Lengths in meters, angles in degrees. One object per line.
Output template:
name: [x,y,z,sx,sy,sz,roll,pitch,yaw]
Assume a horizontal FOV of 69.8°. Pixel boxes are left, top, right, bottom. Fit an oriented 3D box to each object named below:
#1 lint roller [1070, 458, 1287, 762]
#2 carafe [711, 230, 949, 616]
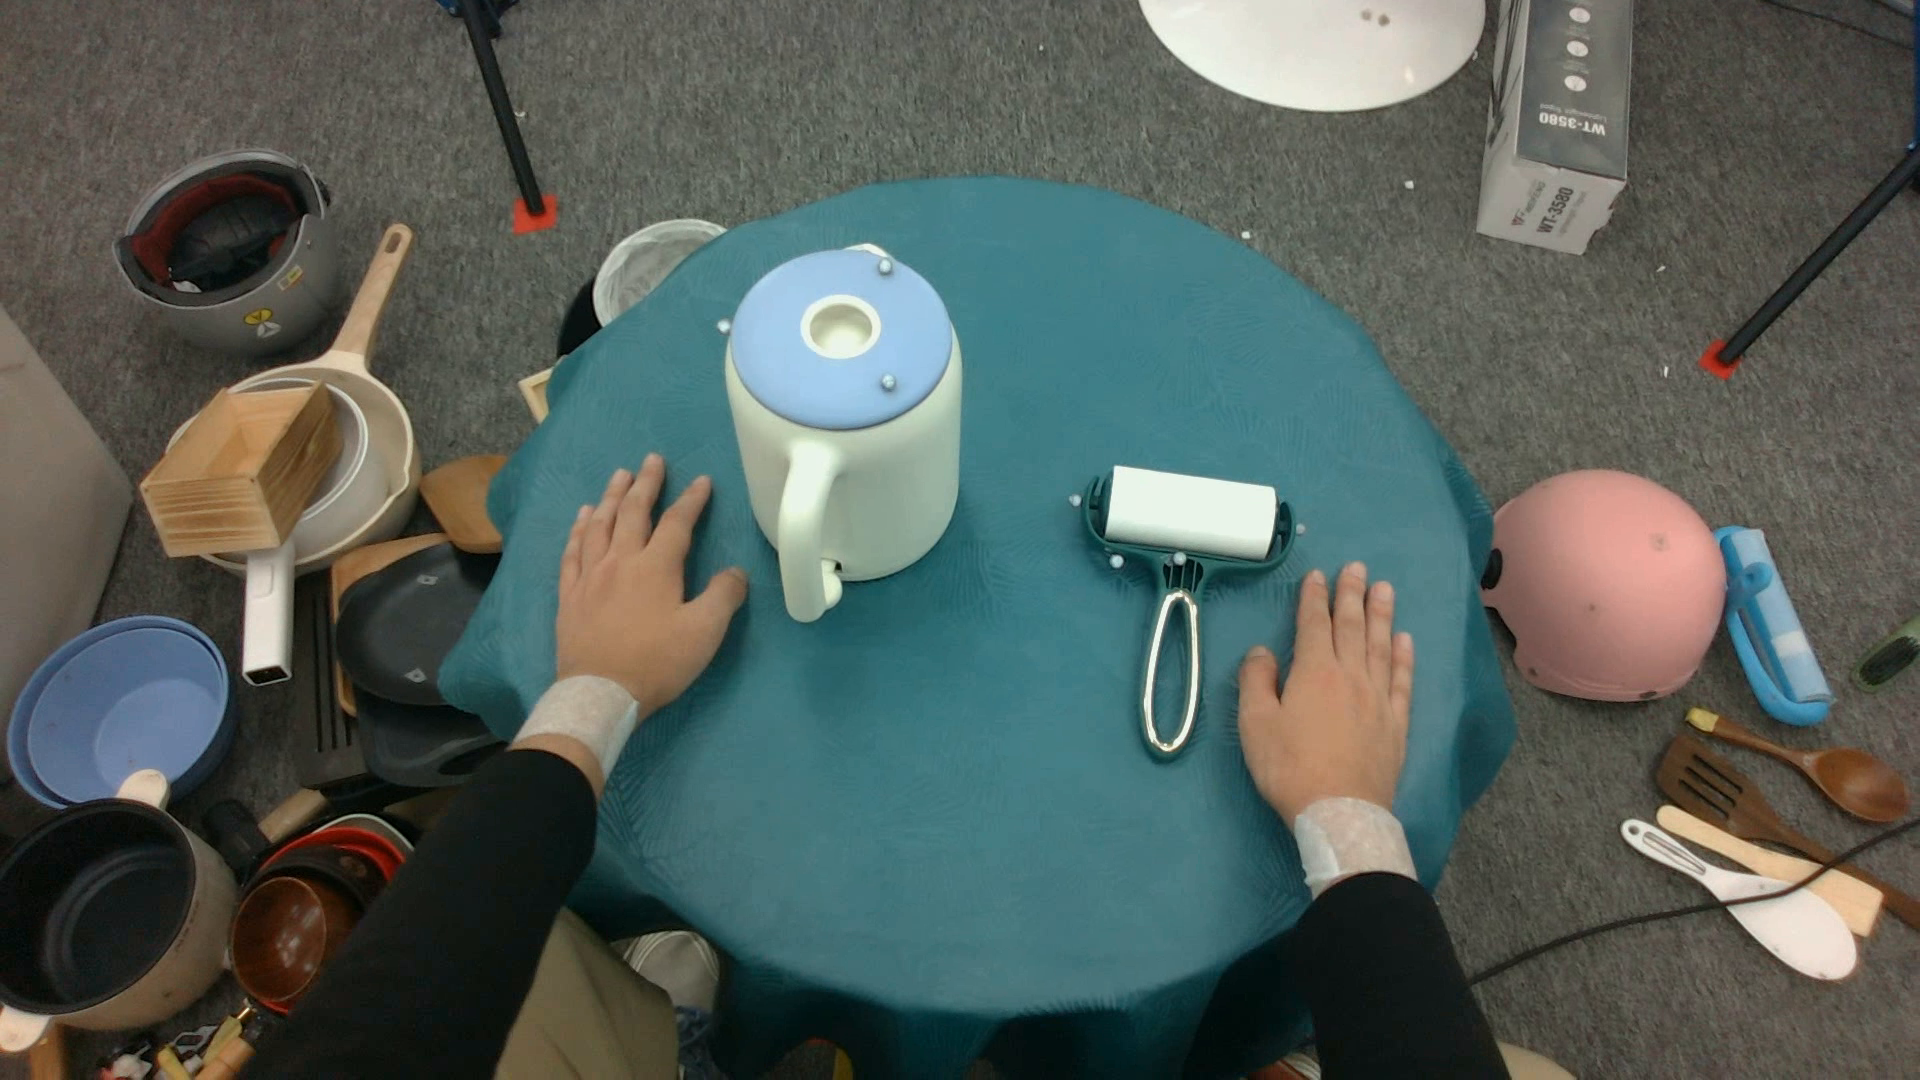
lint roller: [0.124,0.039,0.821,0.134,0.048,0.181,8,64,2]
carafe: [-0.077,-0.054,0.790,0.132,0.182,0.192,8,63,3]
